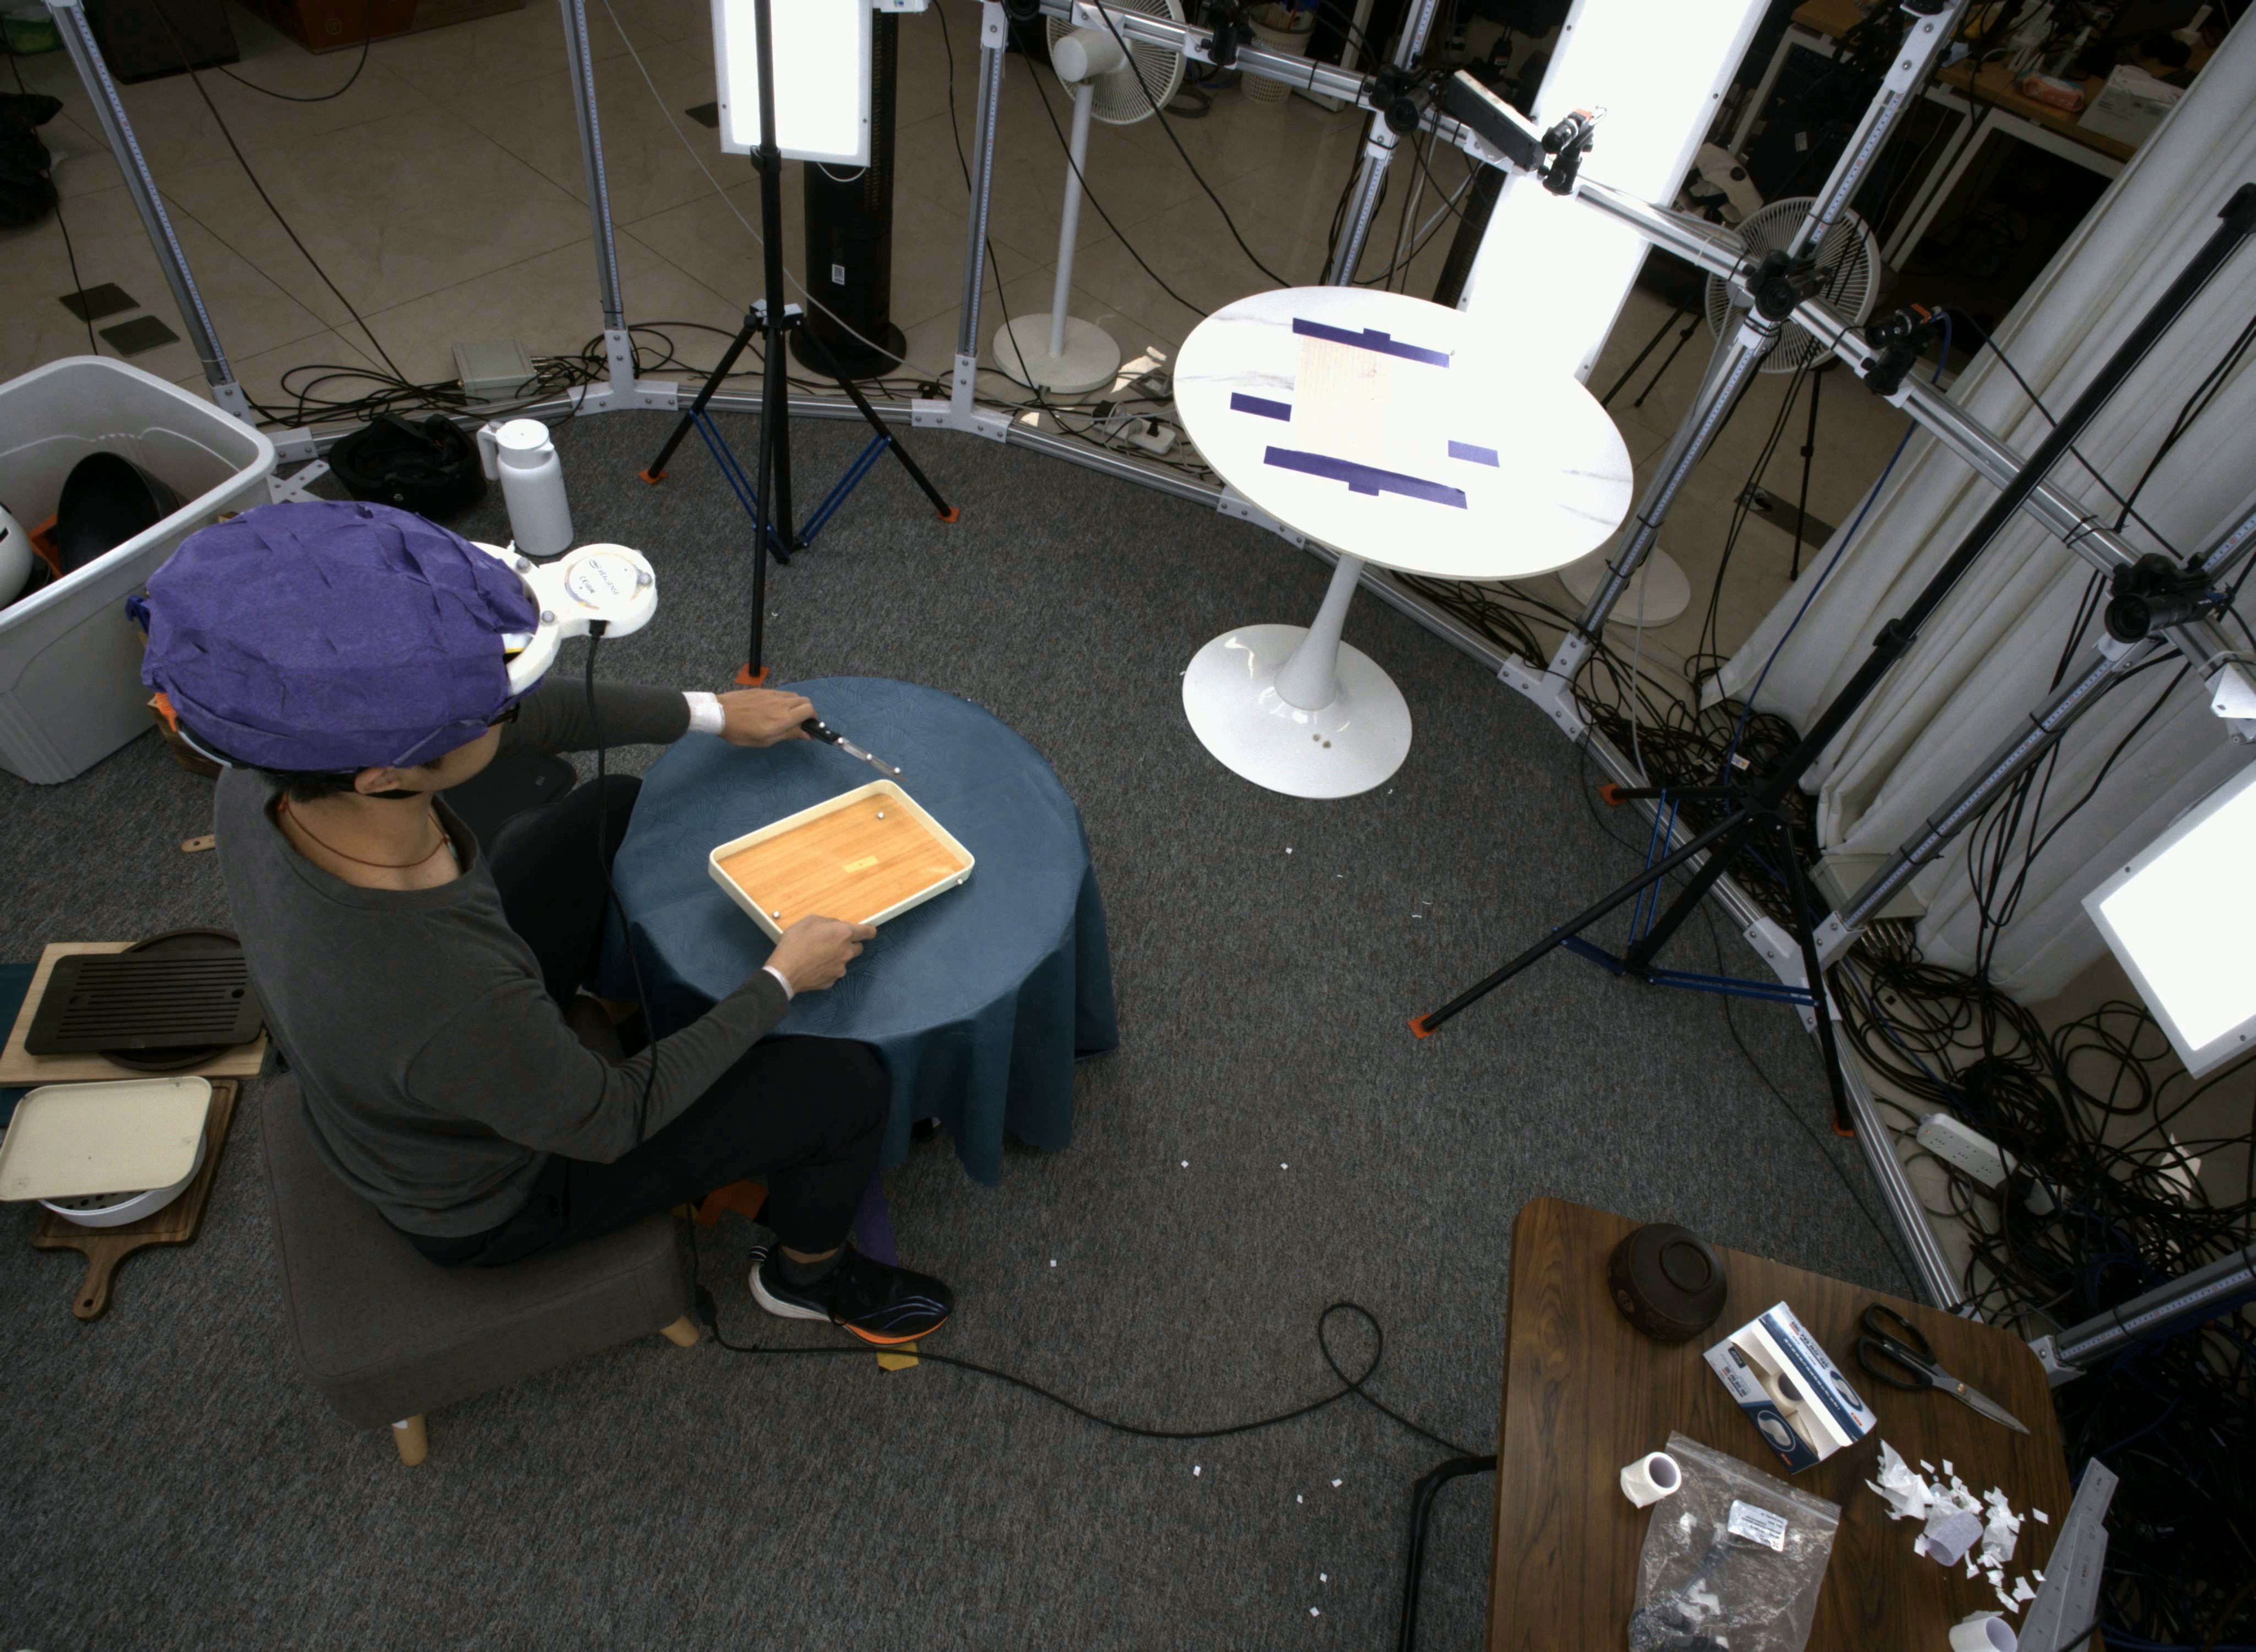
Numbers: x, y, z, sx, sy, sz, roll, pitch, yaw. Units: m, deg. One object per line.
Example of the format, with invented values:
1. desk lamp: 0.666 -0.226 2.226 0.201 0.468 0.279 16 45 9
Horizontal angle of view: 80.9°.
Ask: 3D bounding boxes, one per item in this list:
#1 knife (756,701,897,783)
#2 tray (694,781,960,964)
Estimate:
1. knife: -0.408 -0.110 1.742 0.233 0.017 0.024 28 40 12
2. tray: -0.377 0.050 1.650 0.187 0.028 0.302 41 41 18
